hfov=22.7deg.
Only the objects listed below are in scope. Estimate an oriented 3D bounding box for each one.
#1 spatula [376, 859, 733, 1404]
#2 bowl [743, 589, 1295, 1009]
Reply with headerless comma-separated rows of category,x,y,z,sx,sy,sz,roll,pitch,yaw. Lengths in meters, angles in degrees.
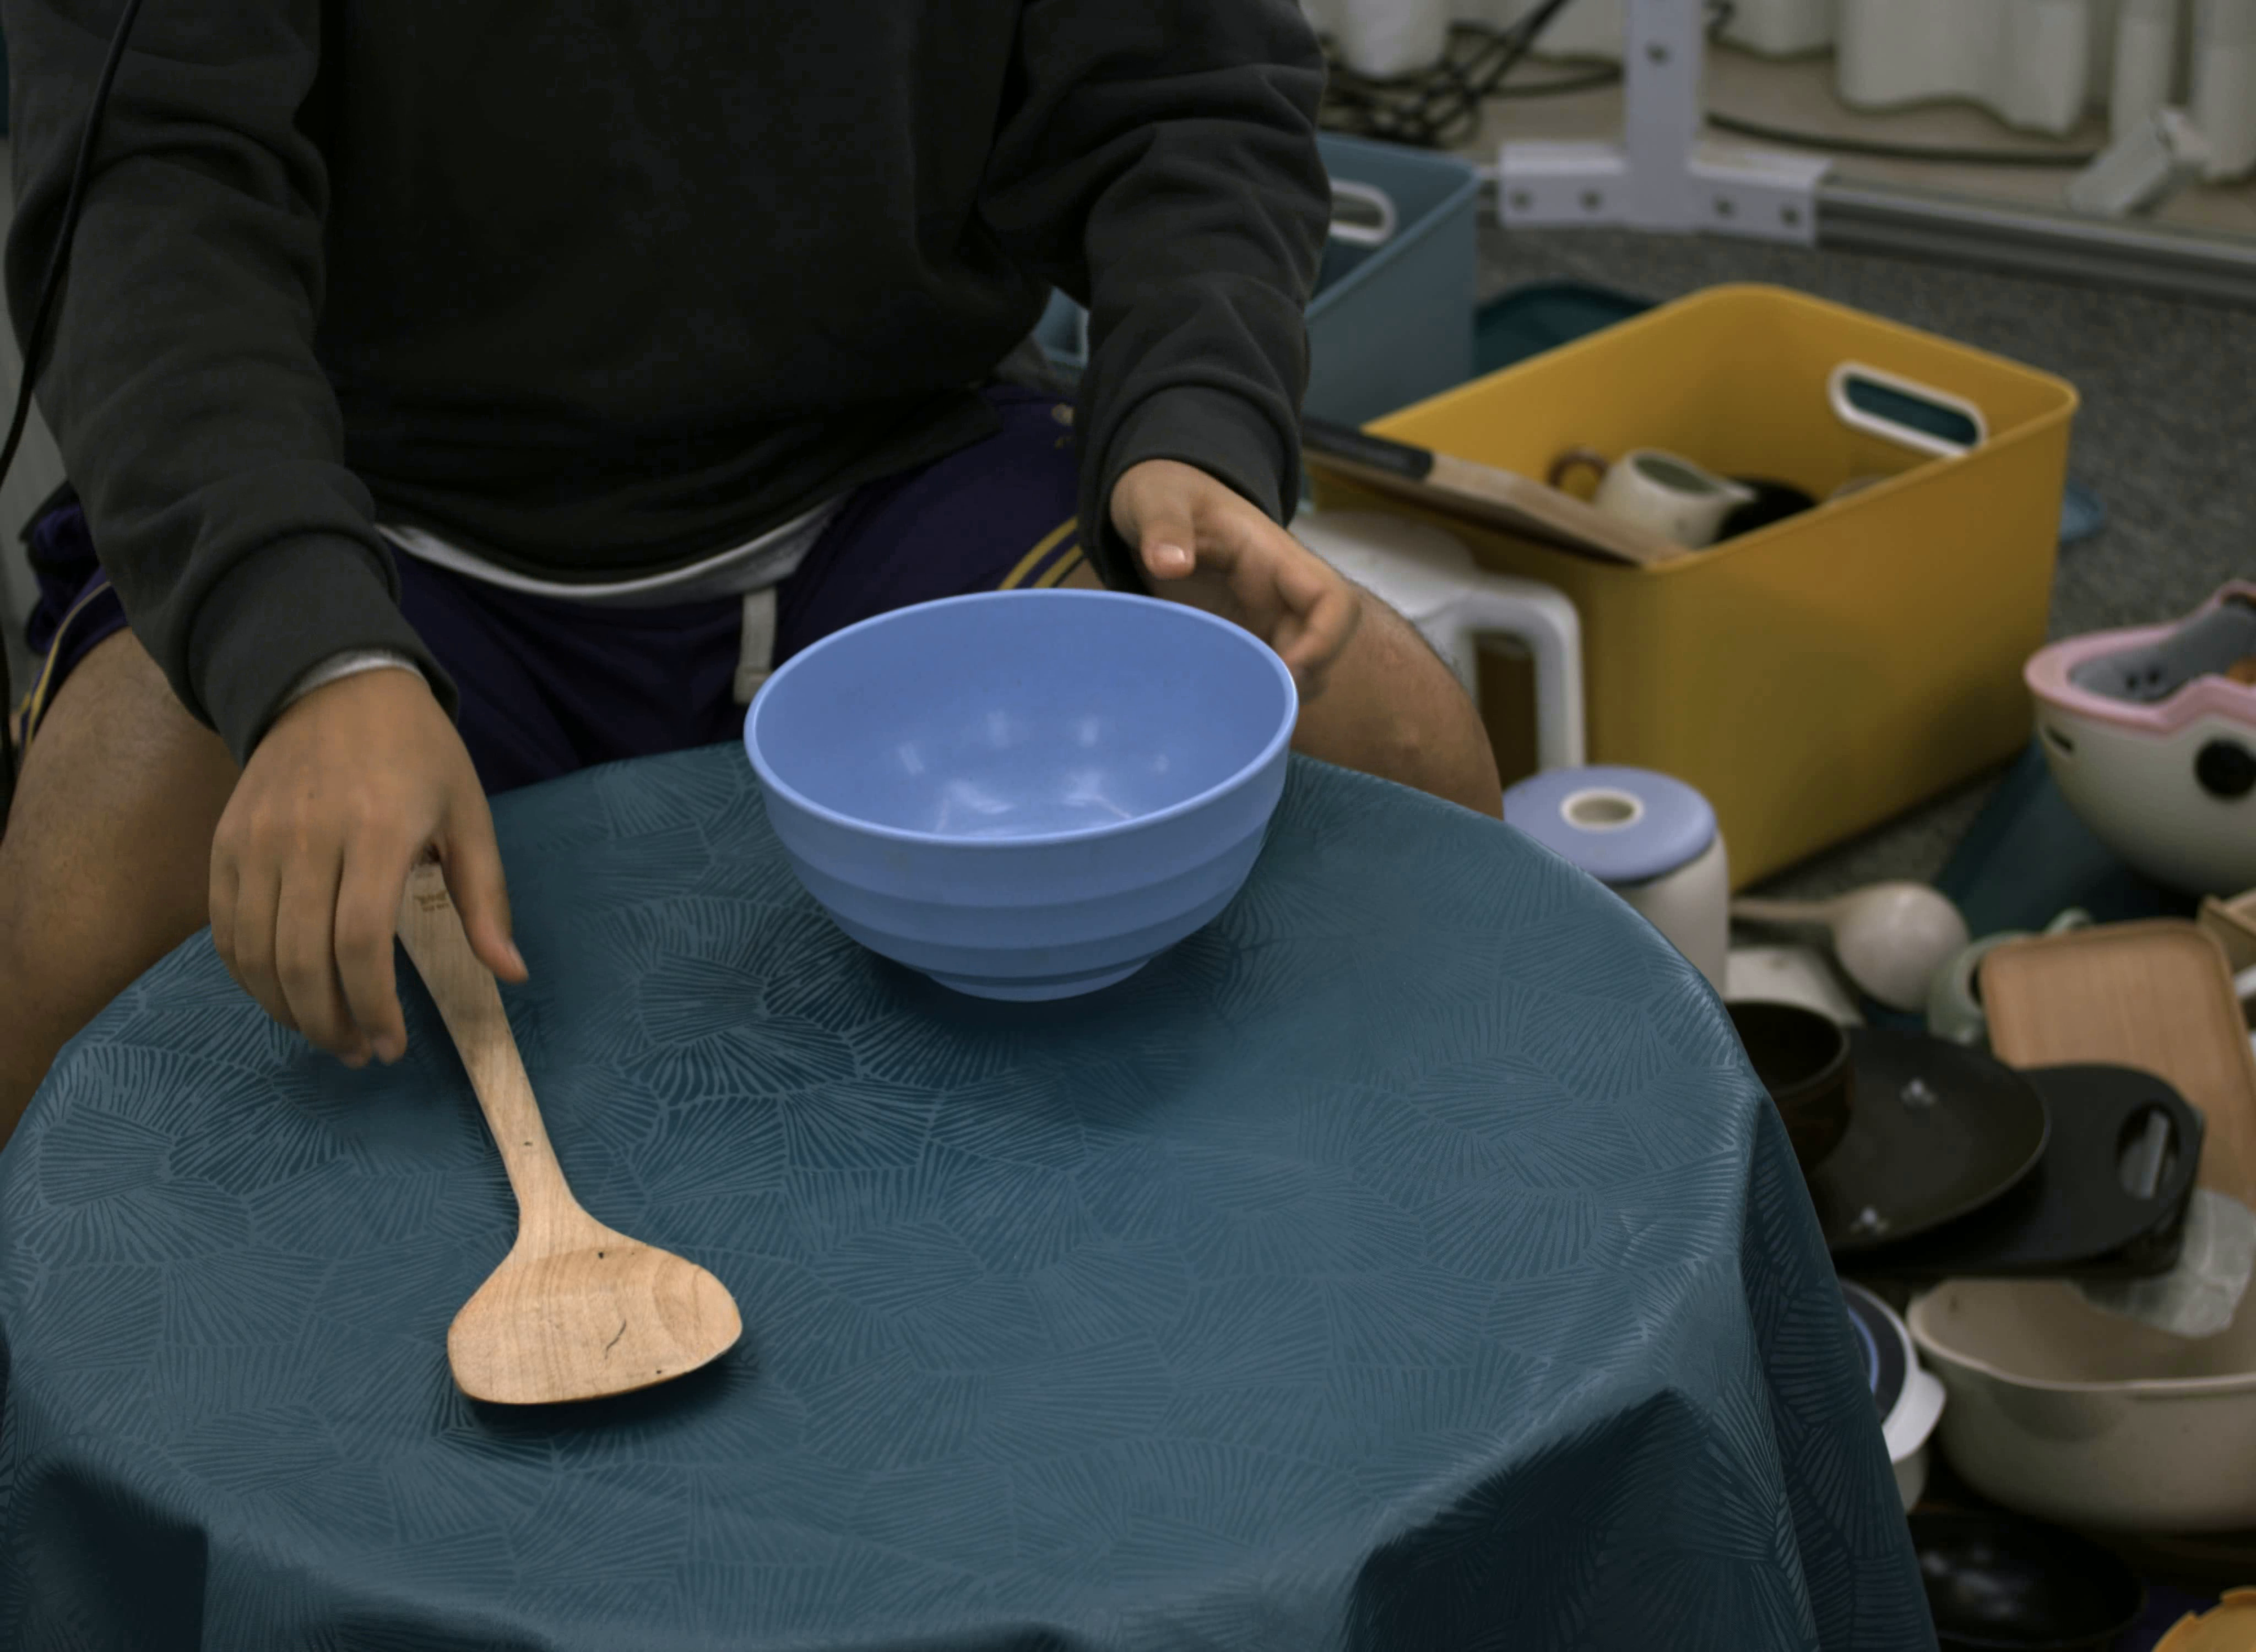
spatula,-0.217,0.097,1.912,0.096,0.018,0.394,-8,28,-14
bowl,-0.035,0.002,2.001,0.195,0.094,0.199,-4,29,3
